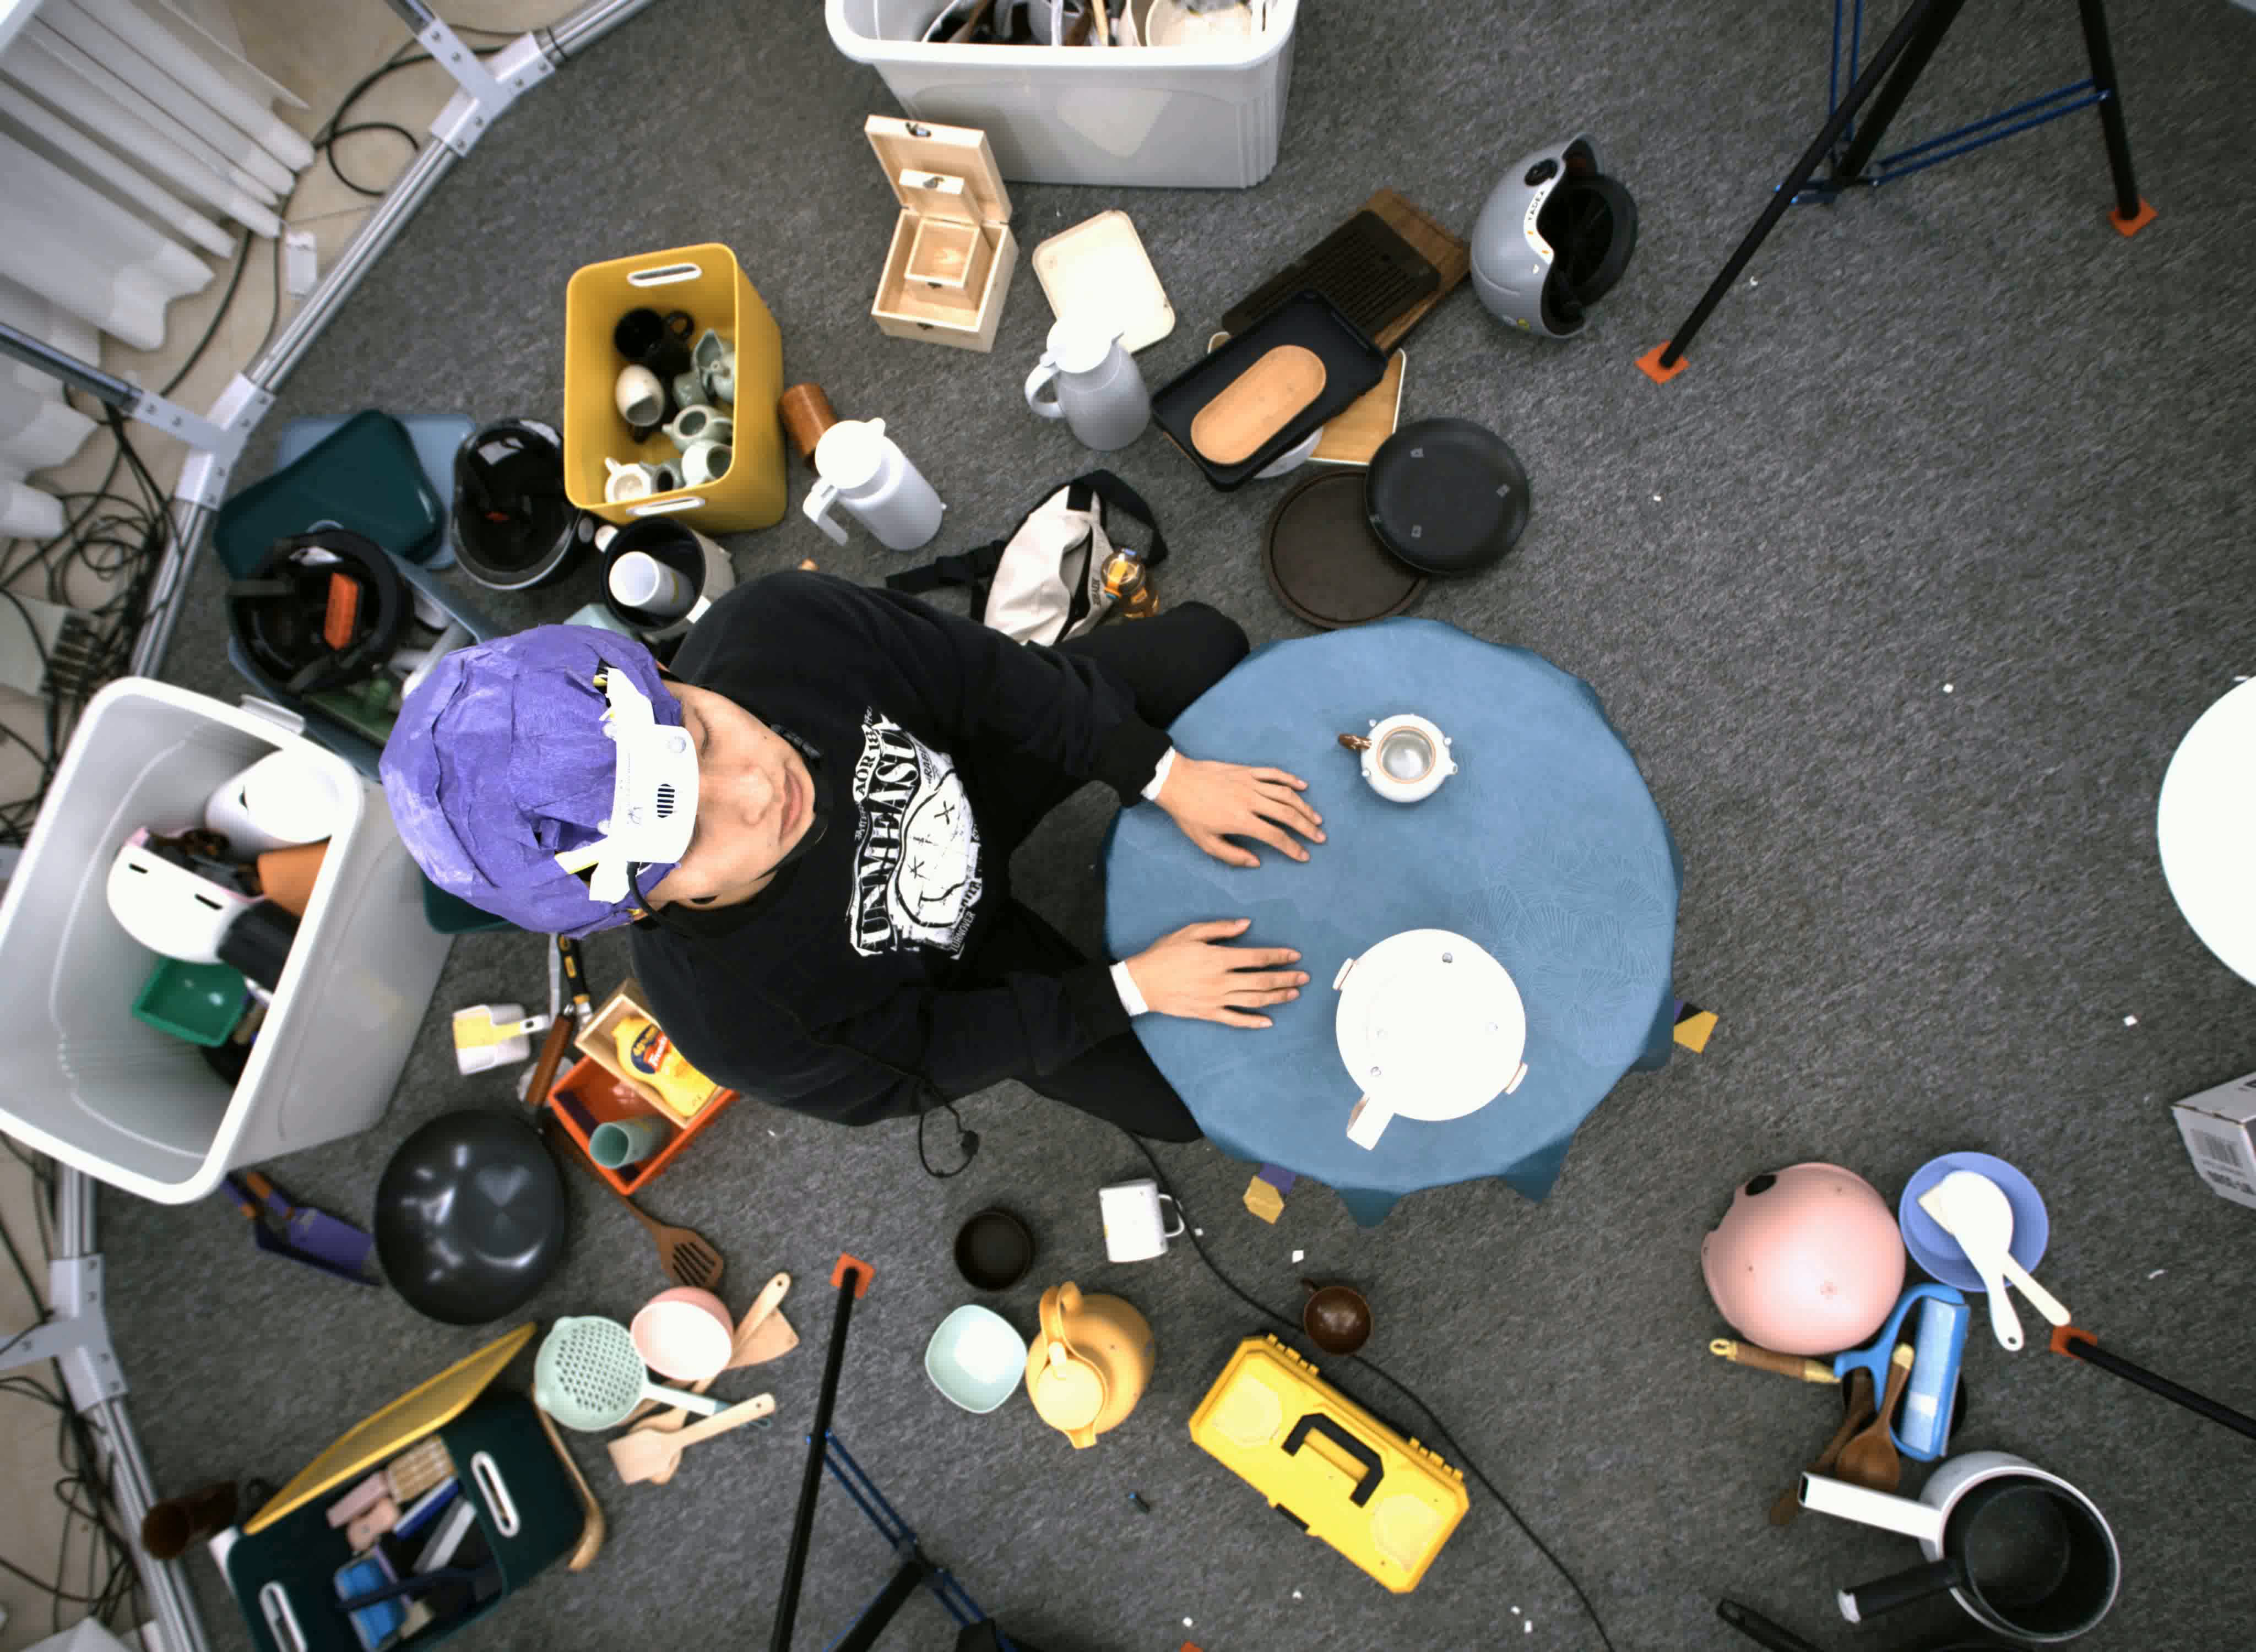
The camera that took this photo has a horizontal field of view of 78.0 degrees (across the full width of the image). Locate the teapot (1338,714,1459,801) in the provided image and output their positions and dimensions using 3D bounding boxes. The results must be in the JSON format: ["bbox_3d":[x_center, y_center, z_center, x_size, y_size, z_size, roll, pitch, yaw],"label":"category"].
[{"bbox_3d":[0.281,-0.076,1.436,0.128,0.059,0.092,15,93,11],"label":"teapot"}]

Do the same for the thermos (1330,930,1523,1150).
[{"bbox_3d":[0.259,0.190,1.257,0.175,0.407,0.207,30,90,10],"label":"thermos"}]
